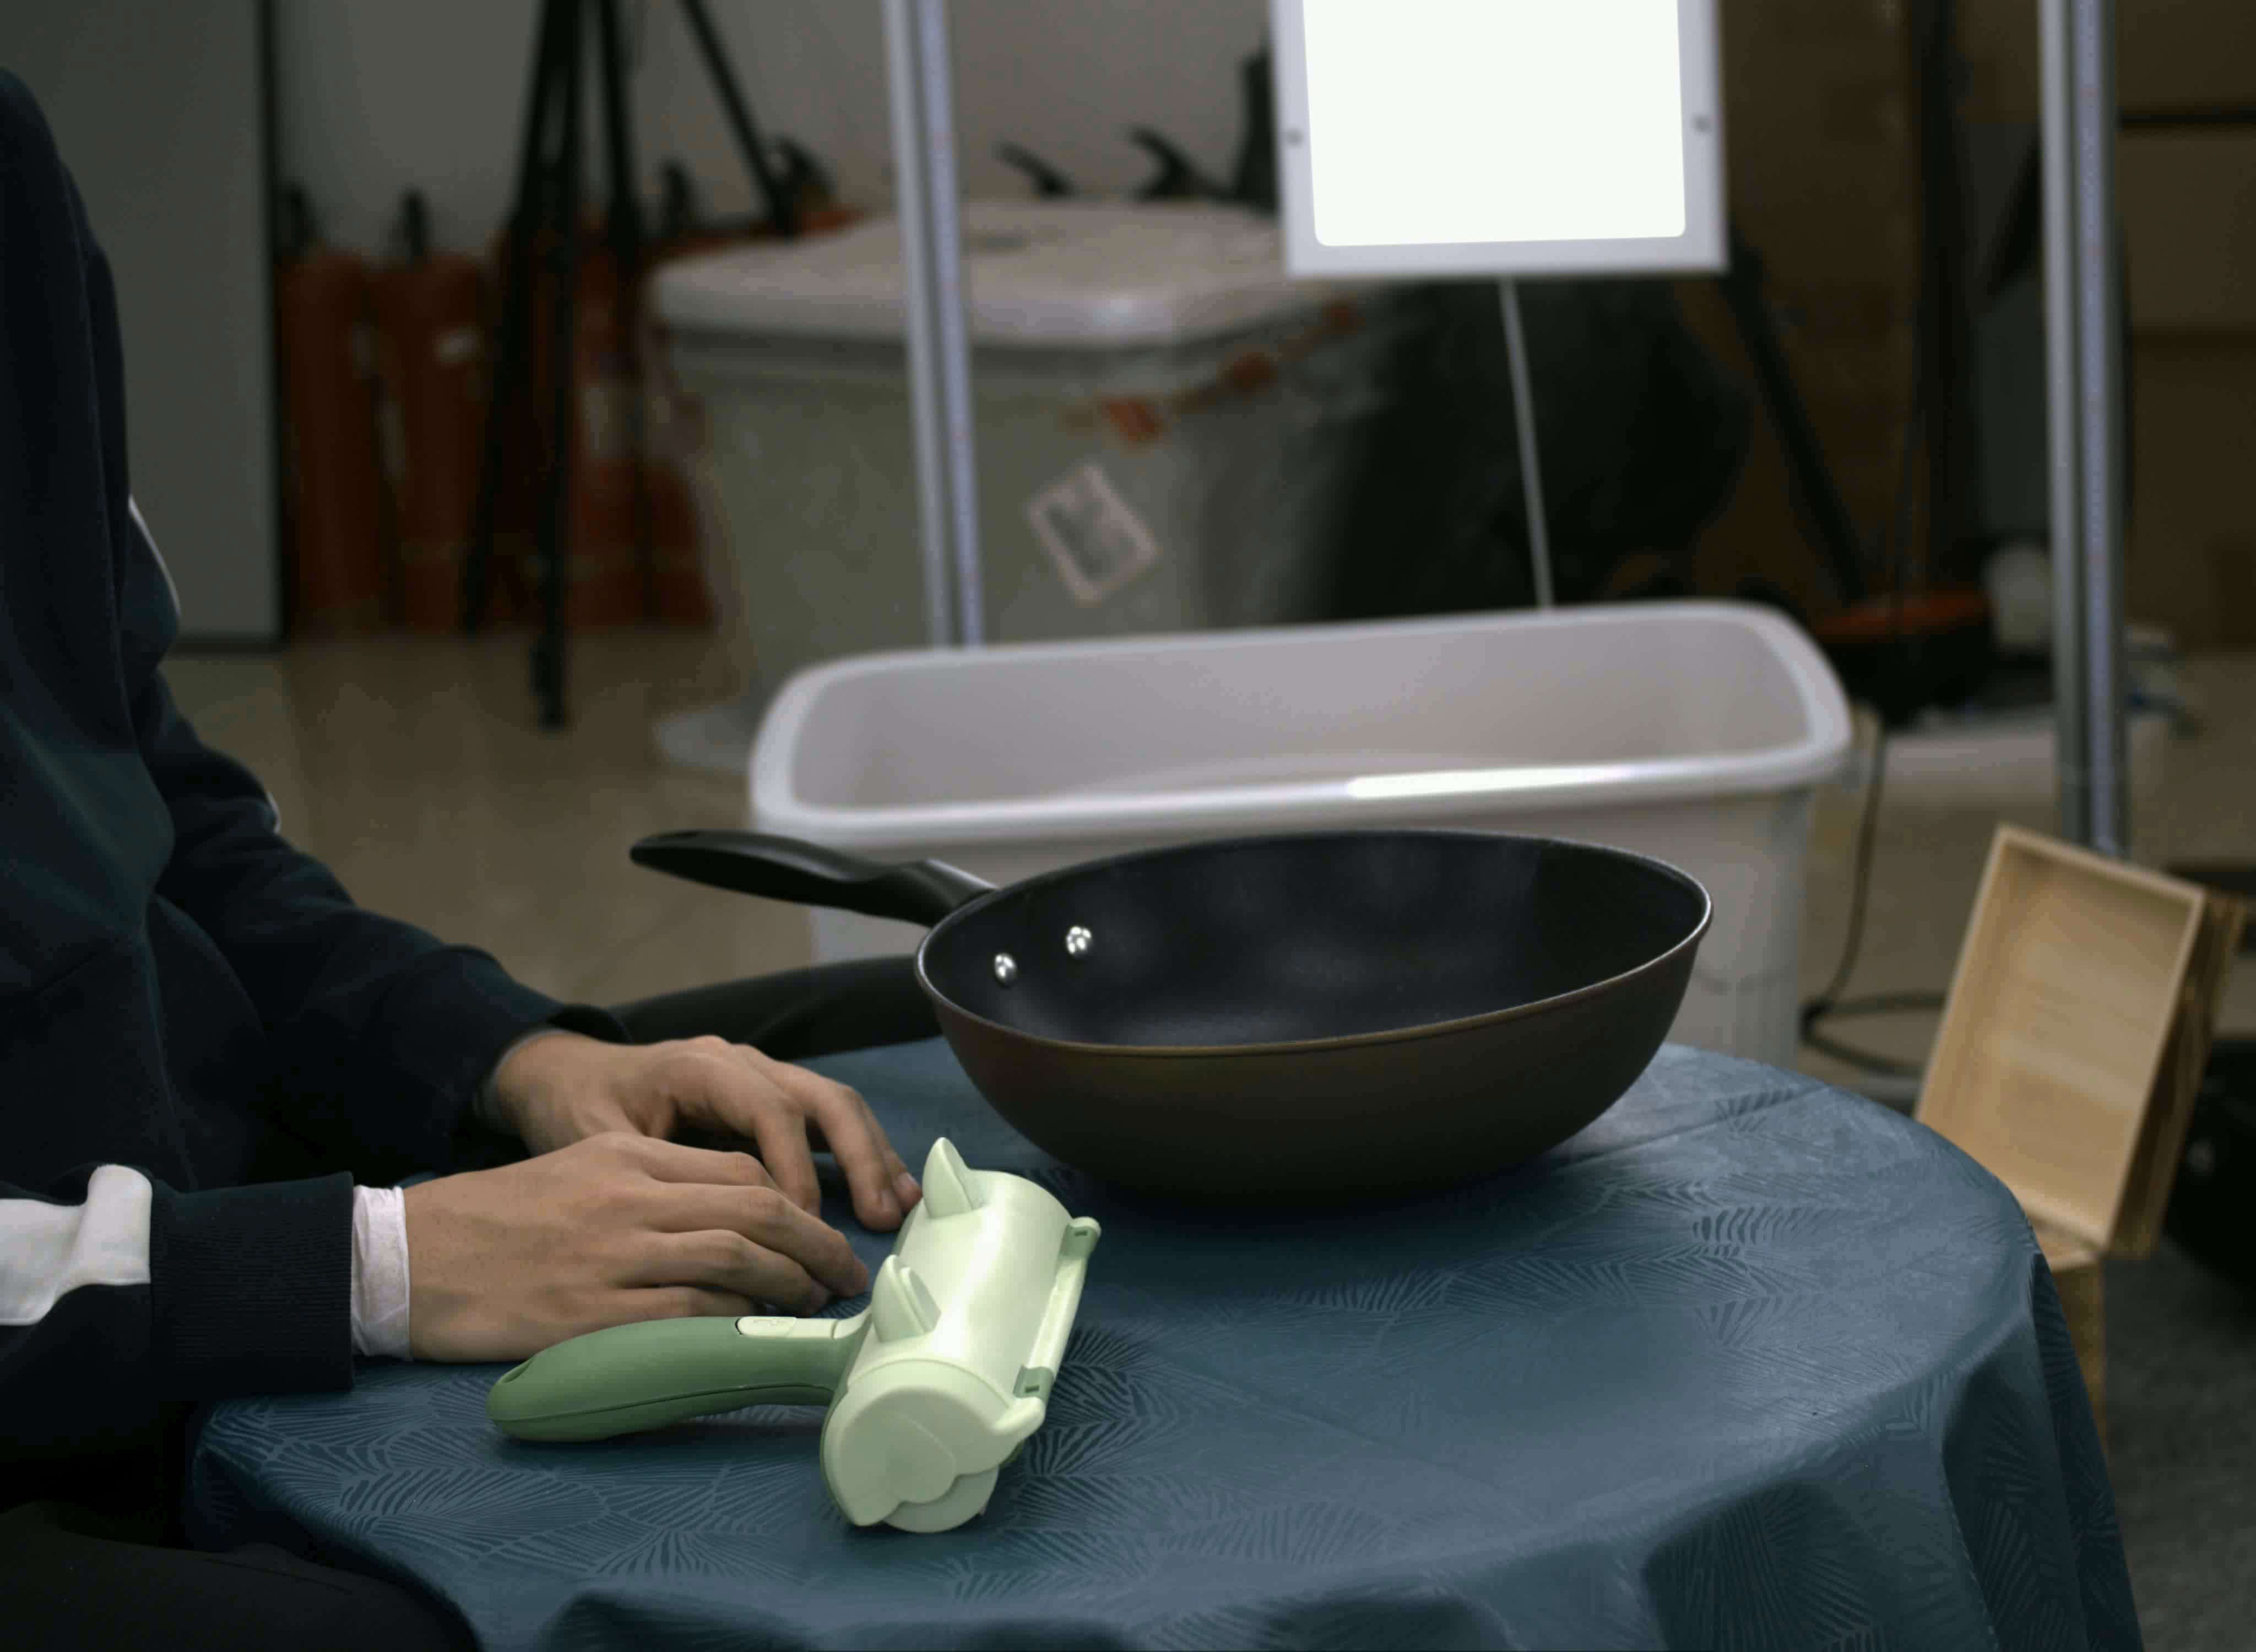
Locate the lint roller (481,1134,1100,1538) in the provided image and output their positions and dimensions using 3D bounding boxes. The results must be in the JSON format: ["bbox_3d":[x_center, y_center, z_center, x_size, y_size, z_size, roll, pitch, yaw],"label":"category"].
[{"bbox_3d":[-0.108,0.149,1.684,0.184,0.082,0.197,2,15,7],"label":"lint roller"}]

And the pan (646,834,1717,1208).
[{"bbox_3d":[-0.003,0.065,1.973,0.473,0.087,0.281,5,17,40],"label":"pan"}]
